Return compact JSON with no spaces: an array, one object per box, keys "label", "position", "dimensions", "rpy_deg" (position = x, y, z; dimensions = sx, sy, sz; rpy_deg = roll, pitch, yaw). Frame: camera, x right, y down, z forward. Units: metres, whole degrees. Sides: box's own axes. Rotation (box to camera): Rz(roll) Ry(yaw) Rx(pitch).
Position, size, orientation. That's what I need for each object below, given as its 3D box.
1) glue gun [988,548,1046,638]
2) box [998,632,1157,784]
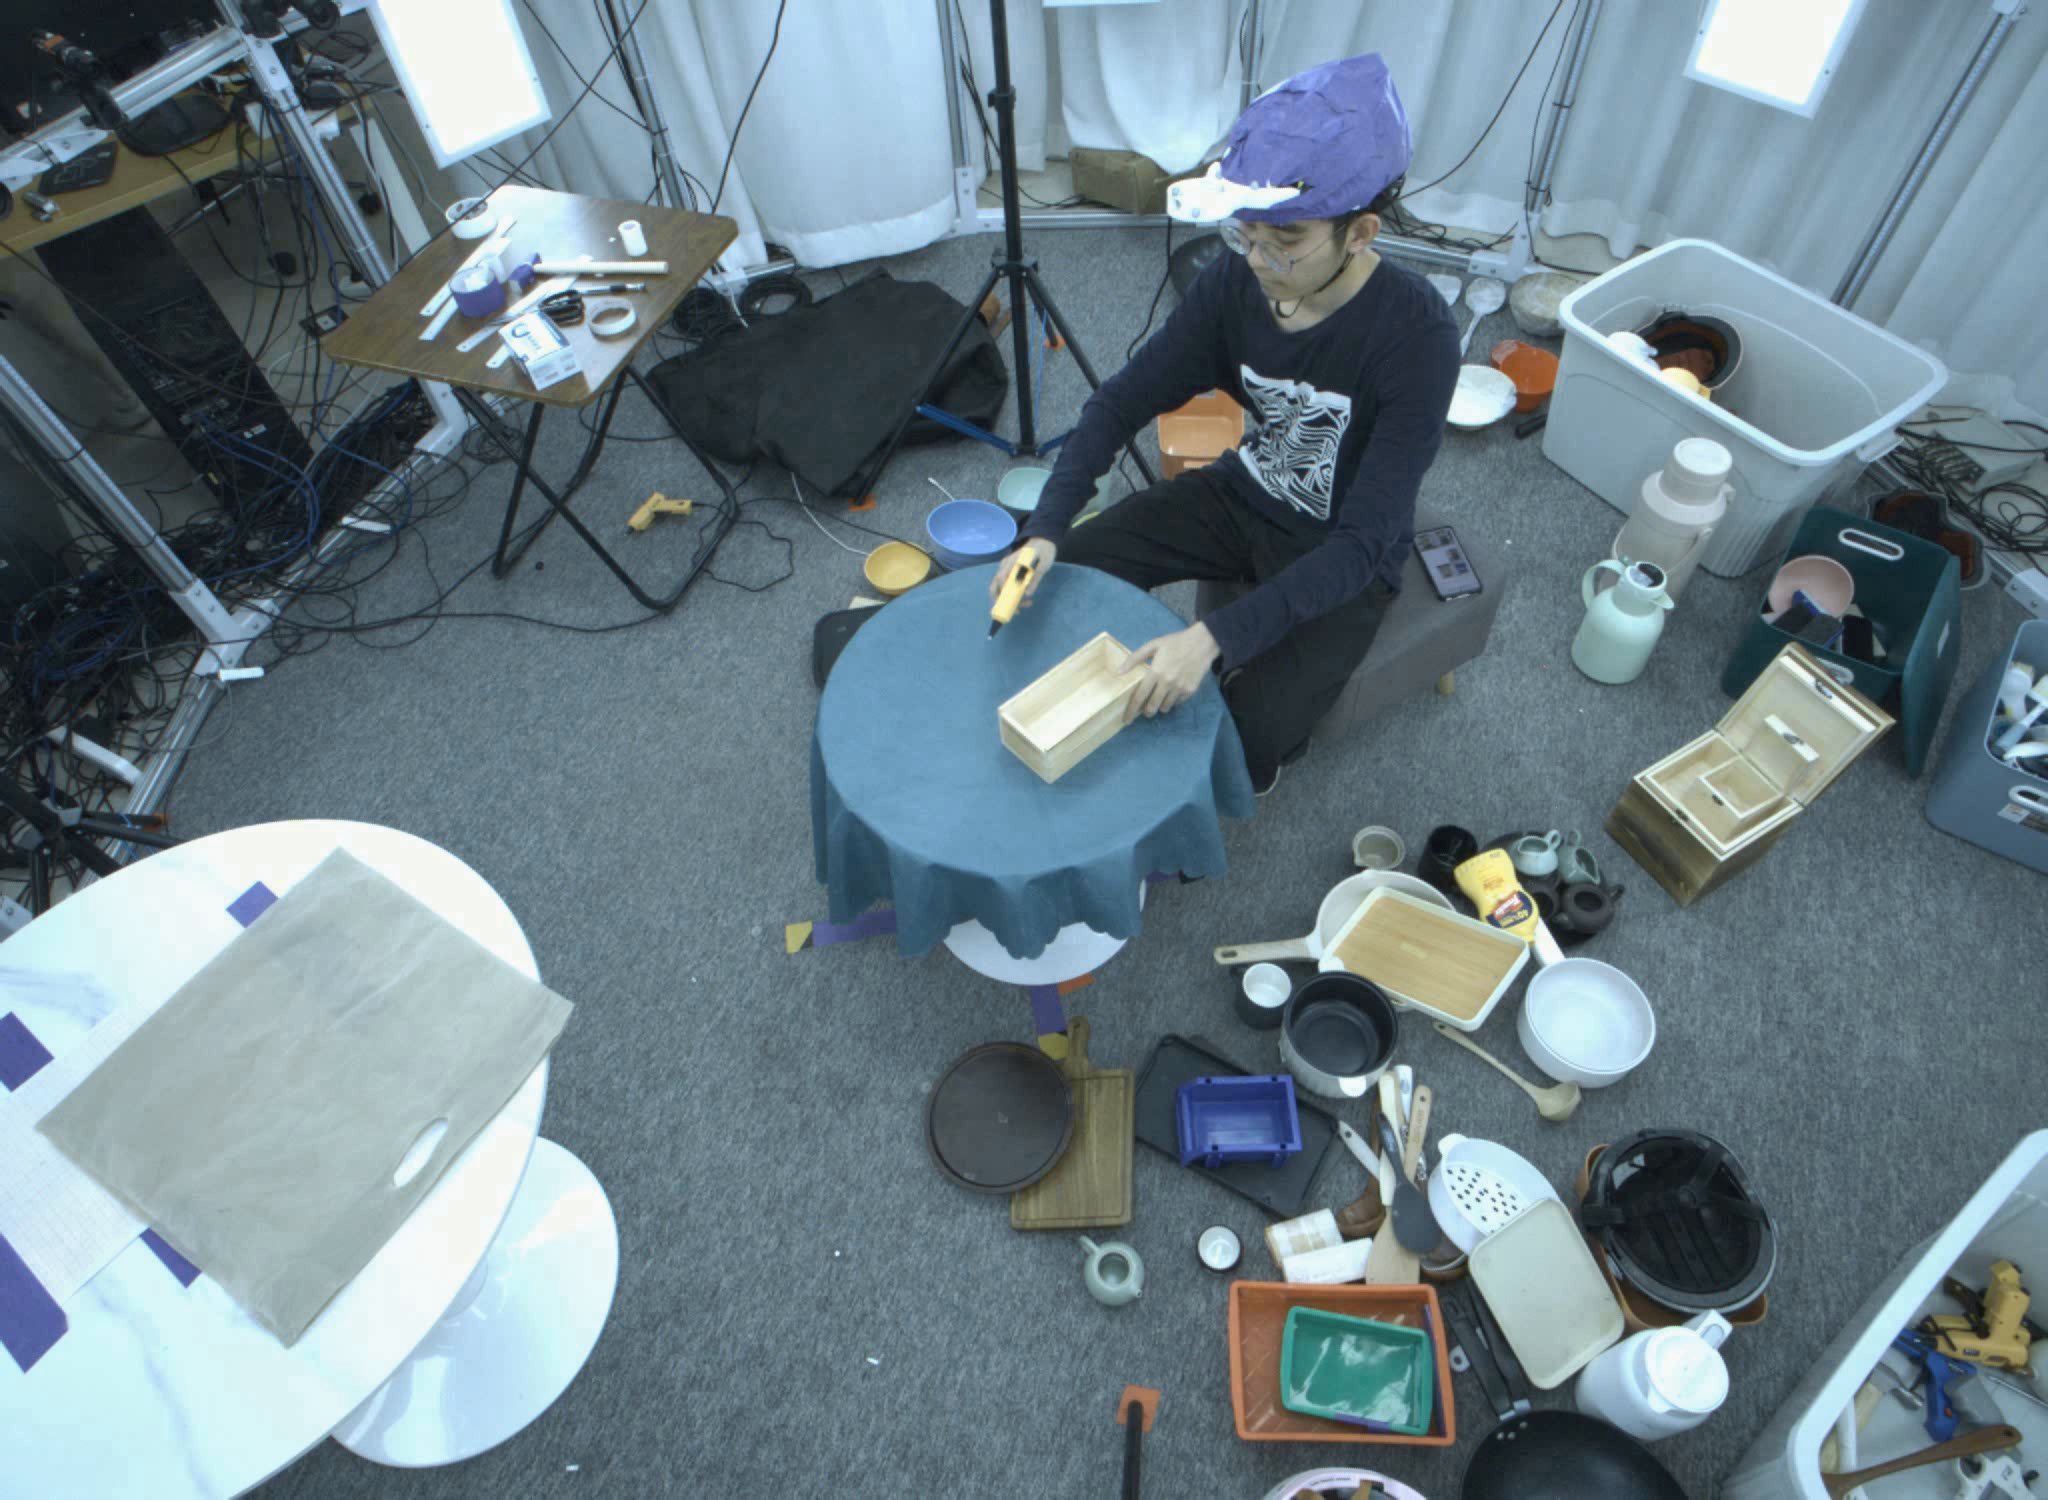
[{"label":"glue gun","position":[-0.026,-0.220,1.837],"dimensions":[0.031,0.132,0.151],"rpy_deg":[30,75,-7]},{"label":"box","position":[0.079,-0.063,1.778],"dimensions":[0.213,0.081,0.105],"rpy_deg":[-37,60,-21]}]
